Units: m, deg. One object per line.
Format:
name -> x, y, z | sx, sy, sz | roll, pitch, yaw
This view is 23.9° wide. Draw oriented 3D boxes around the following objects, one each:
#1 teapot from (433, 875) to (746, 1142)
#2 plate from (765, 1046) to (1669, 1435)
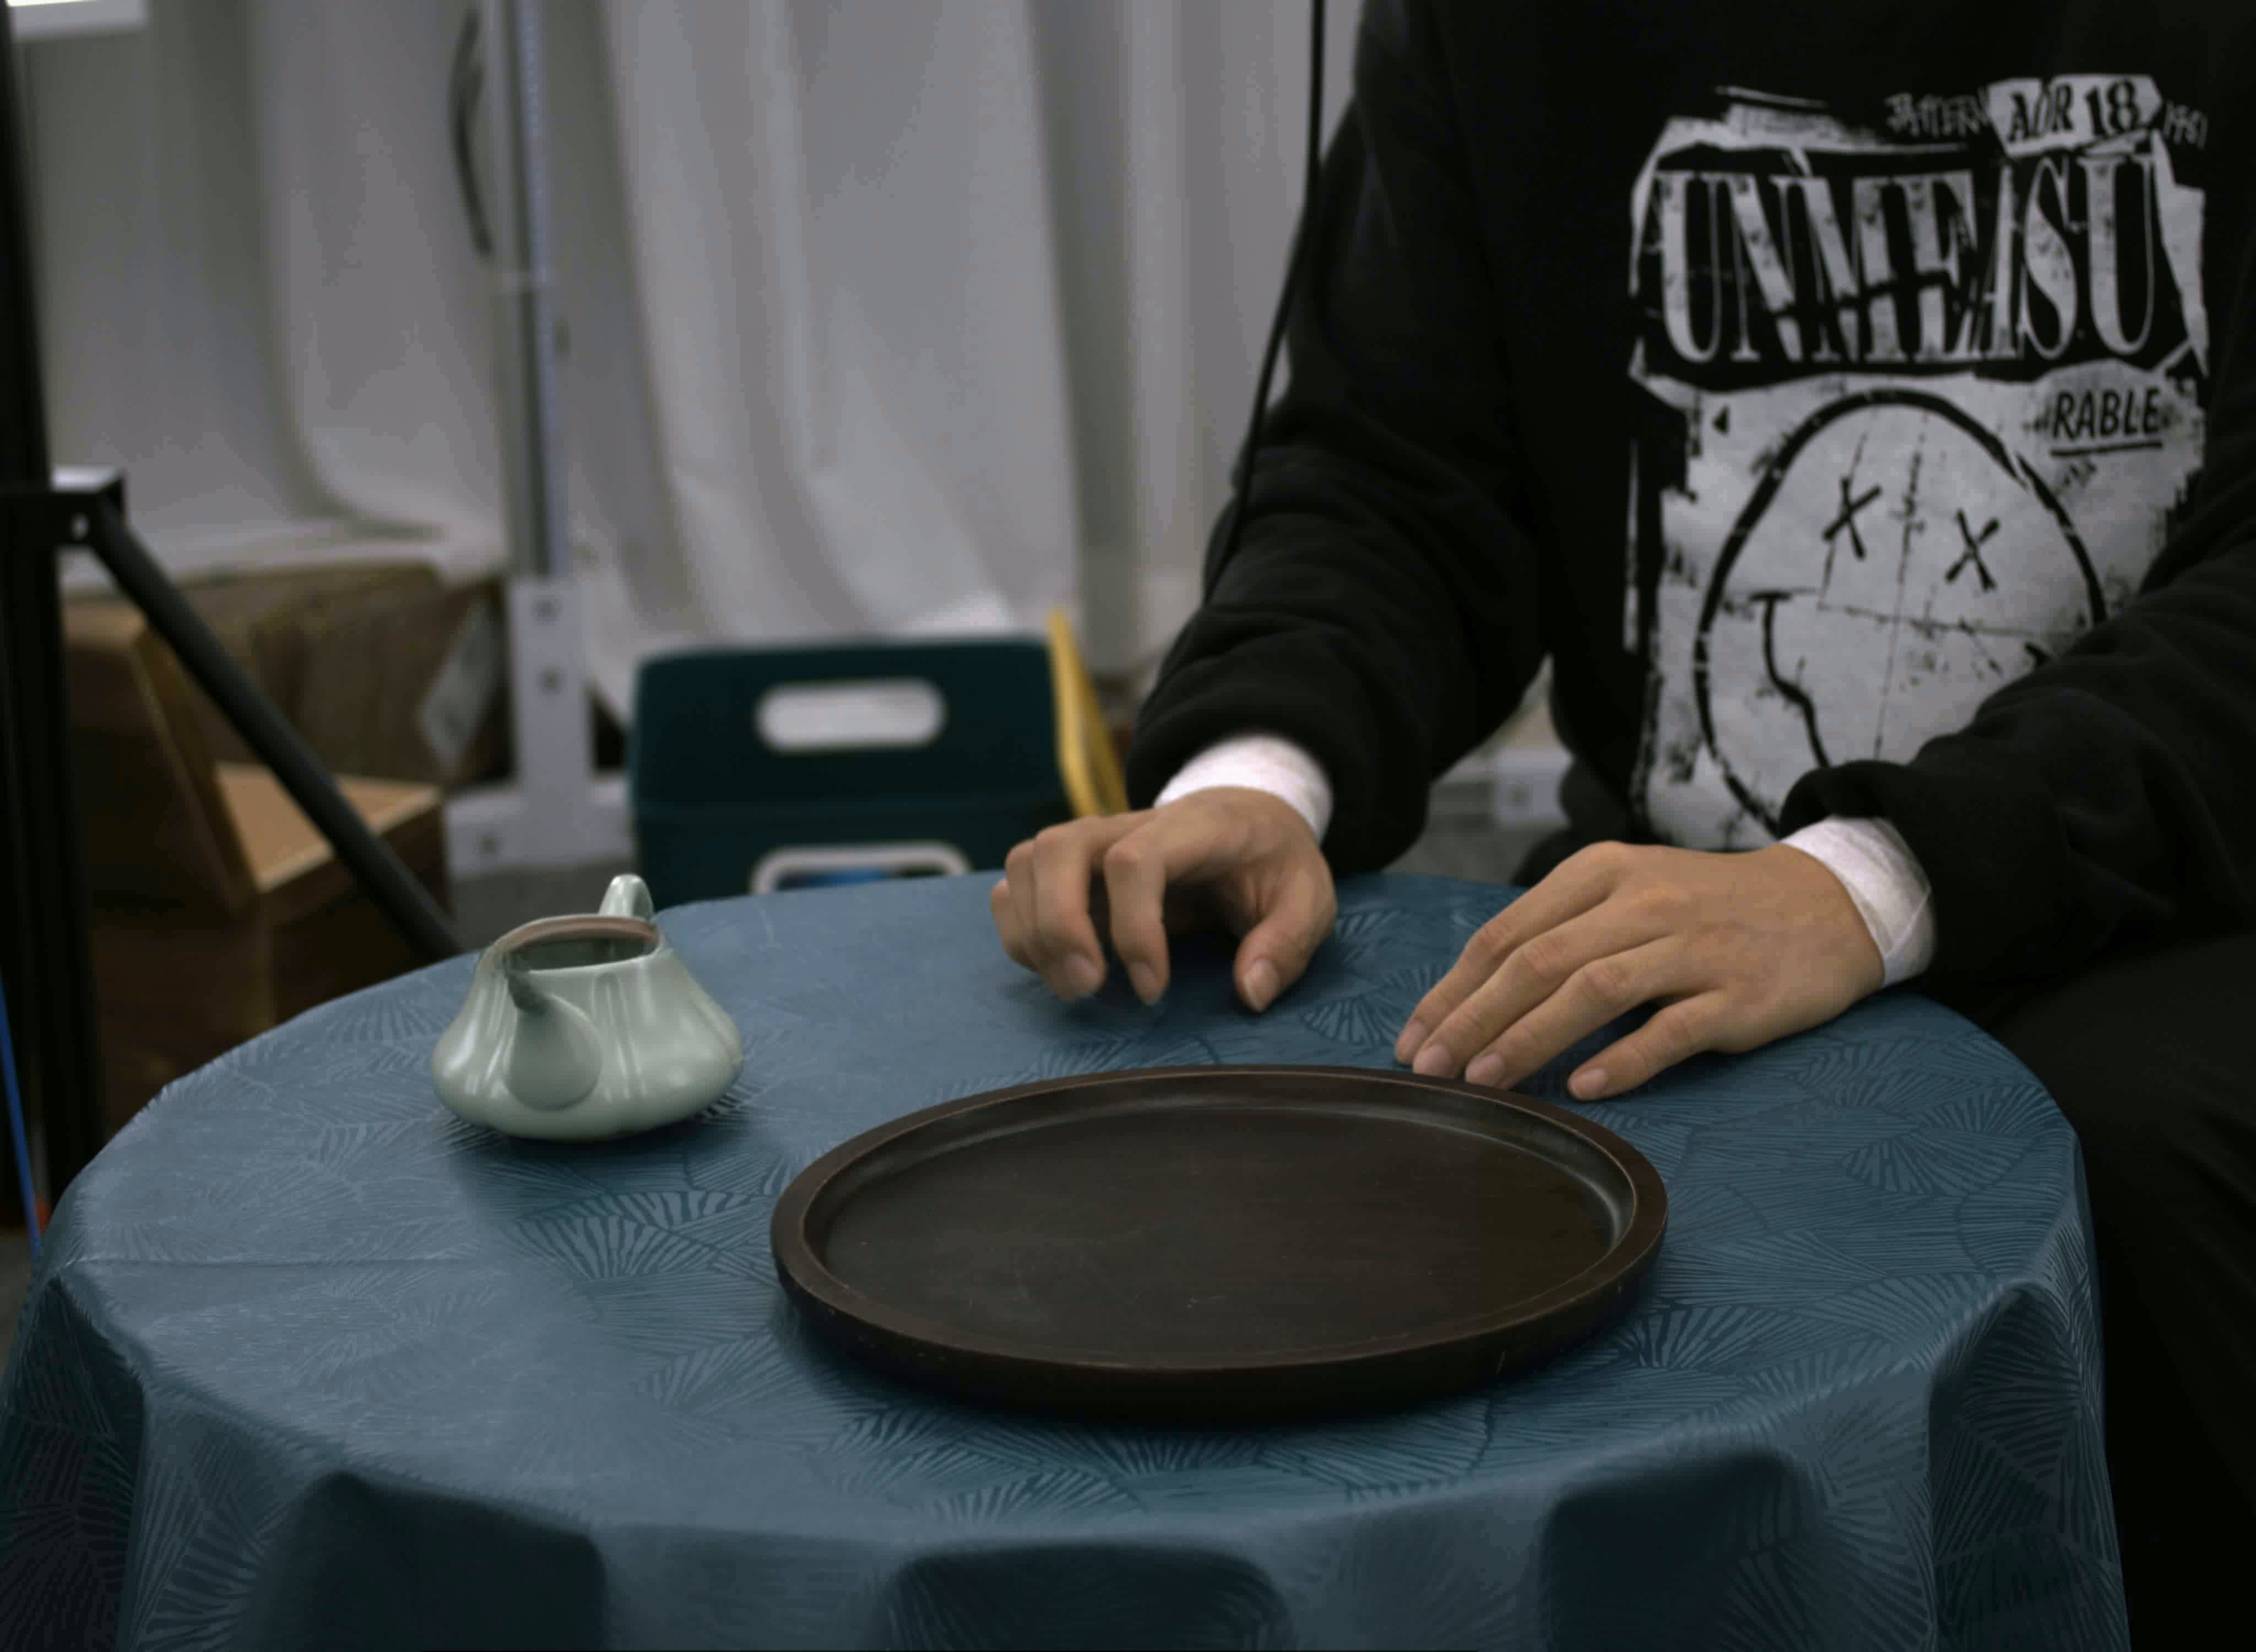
teapot -> -0.166, 0.059, 1.644 | 0.096, 0.061, 0.136 | -2, 16, 8
plate -> 0.025, 0.115, 1.480 | 0.253, 0.029, 0.256 | -4, 16, 0
